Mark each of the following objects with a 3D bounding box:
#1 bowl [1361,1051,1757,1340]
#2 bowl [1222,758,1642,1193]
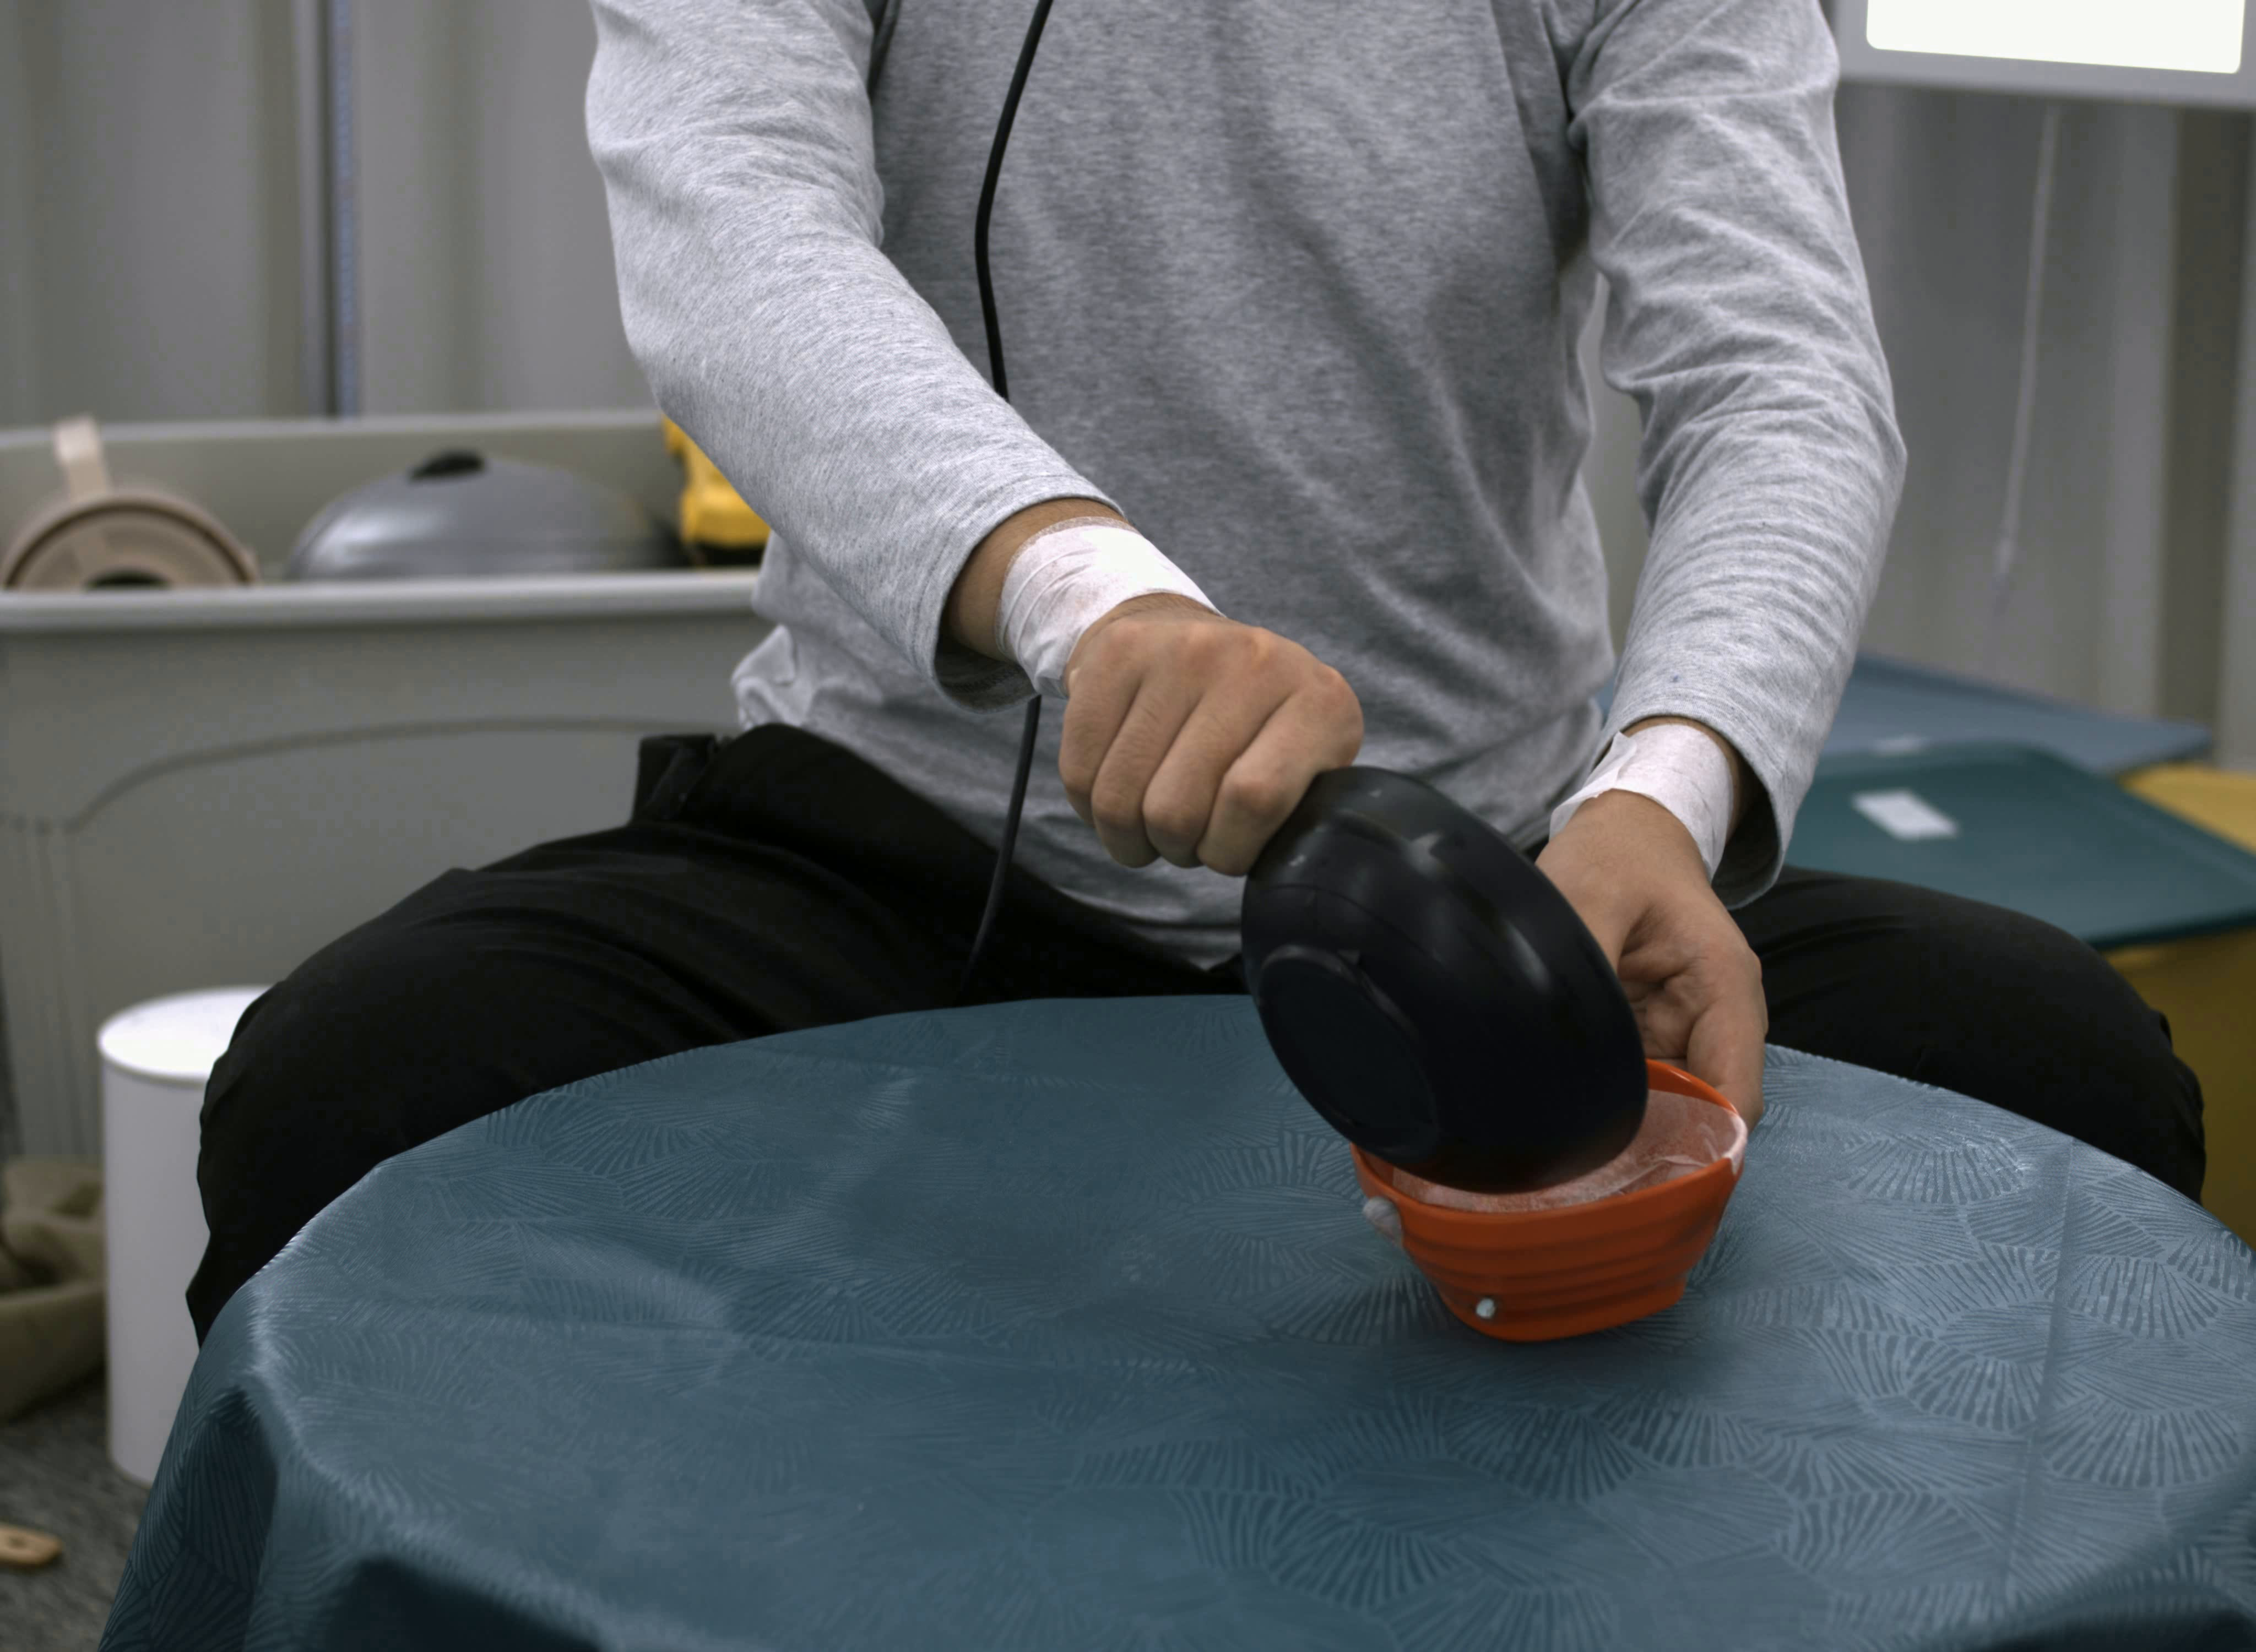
[{"bbox_3d":[0.125,0.109,1.525,0.118,0.052,0.118,-4,21,2],"label":"bowl"},{"bbox_3d":[0.075,0.052,1.476,0.138,0.142,0.050,15,46,42],"label":"bowl"}]
